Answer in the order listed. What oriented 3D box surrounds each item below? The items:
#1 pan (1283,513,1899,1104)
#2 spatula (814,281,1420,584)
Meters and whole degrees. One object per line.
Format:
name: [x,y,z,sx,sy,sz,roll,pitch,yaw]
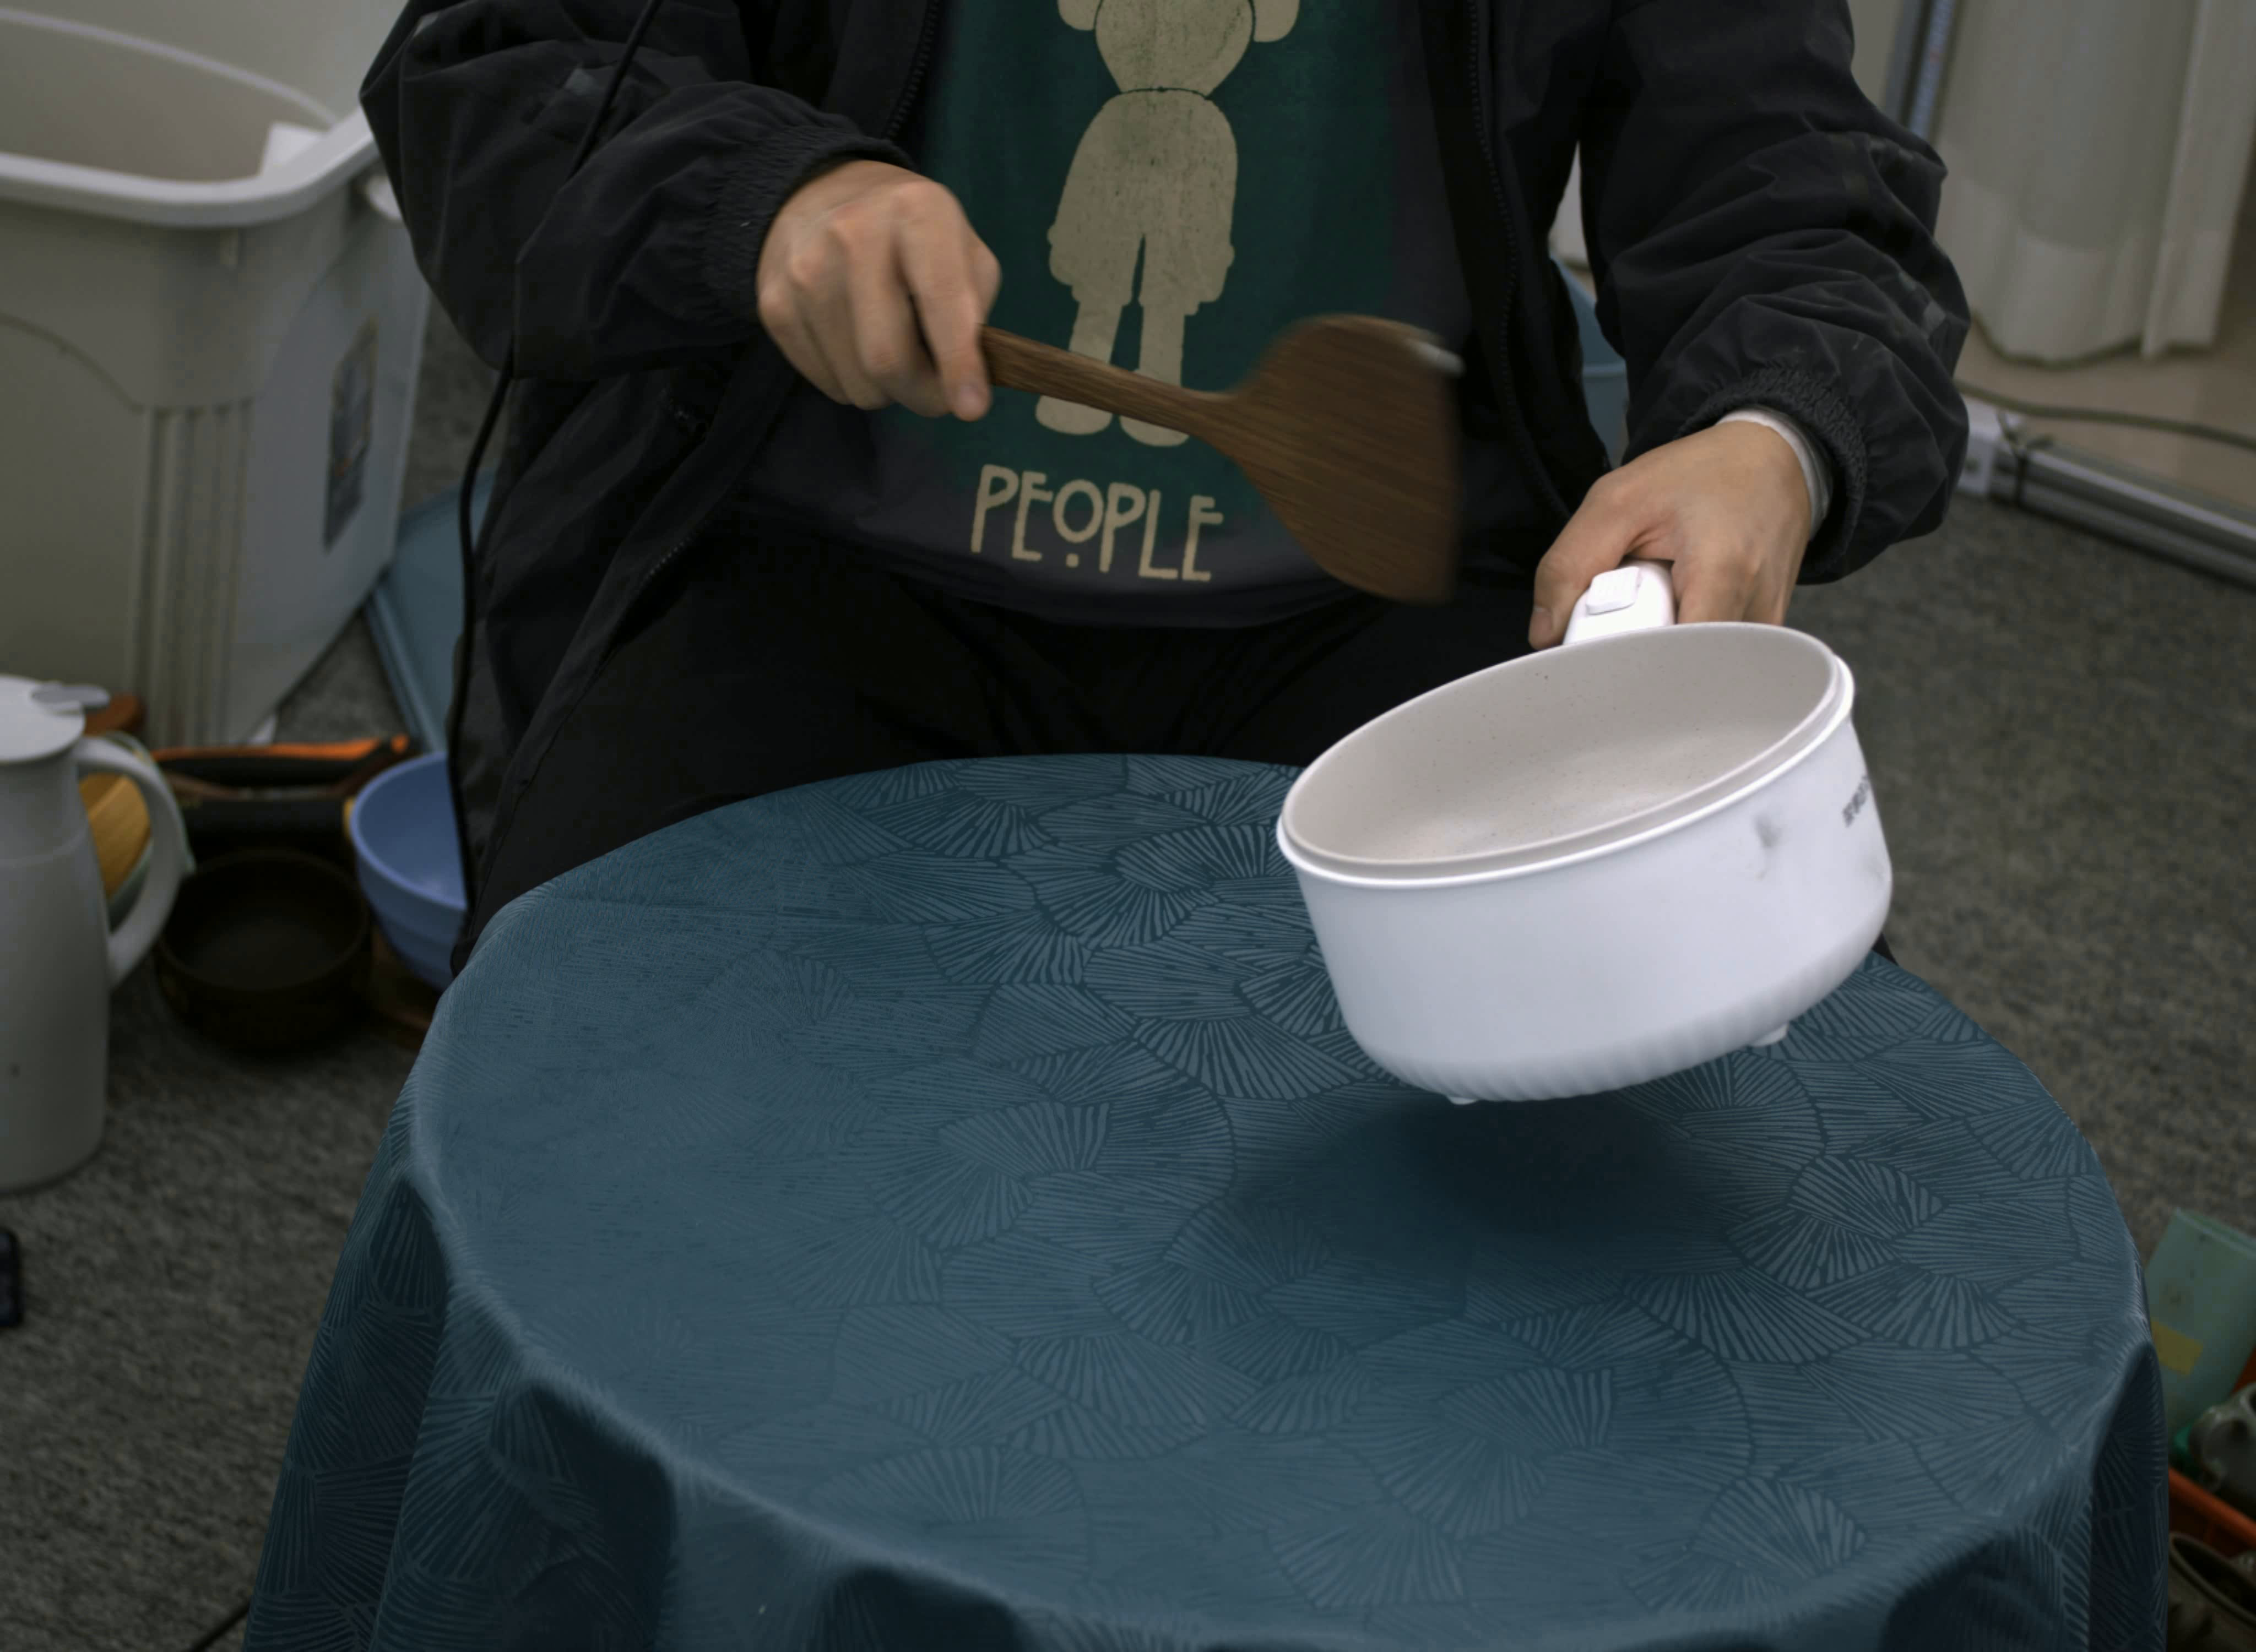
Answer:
pan: [0.177,-0.011,1.878,0.201,0.102,0.355,-13,17,17]
spatula: [-0.012,-0.157,1.873,0.016,0.096,0.389,-18,21,-28]
